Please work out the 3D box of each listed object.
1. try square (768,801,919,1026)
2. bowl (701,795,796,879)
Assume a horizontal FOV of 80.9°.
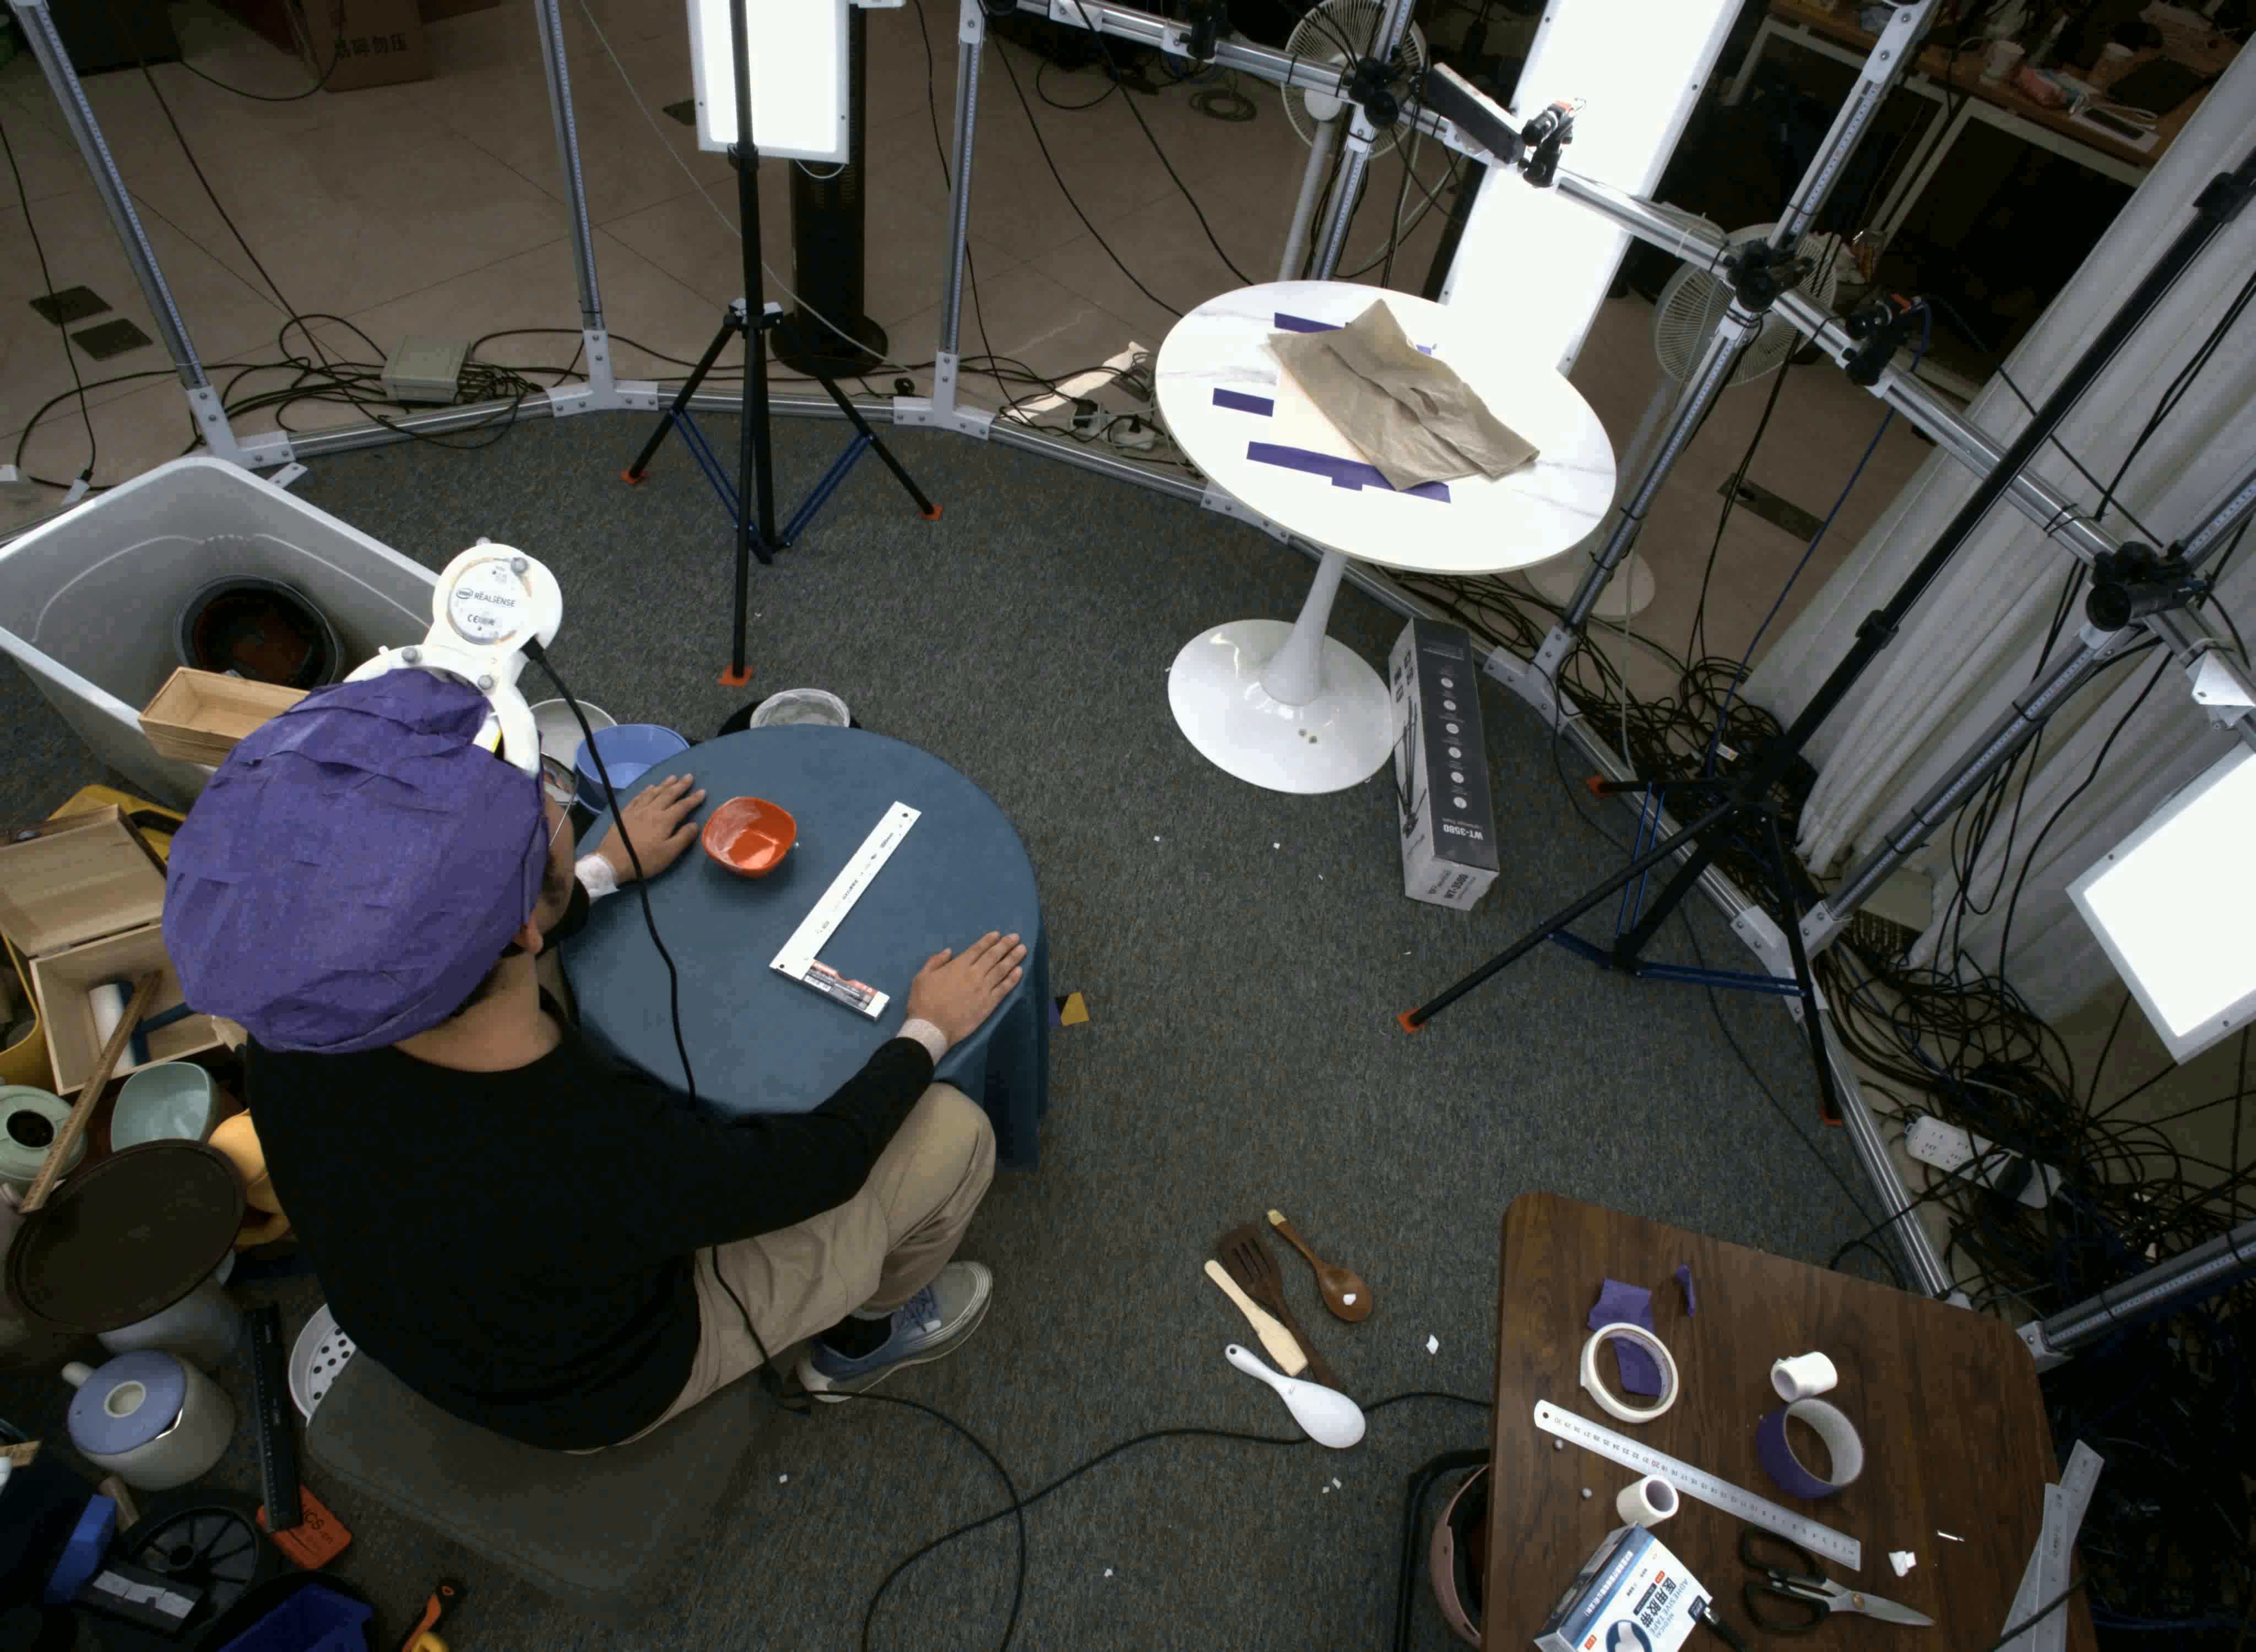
[{"bbox_3d":[-0.314,0.102,1.671,0.151,0.016,0.311,28,51,2],"label":"try square"},{"bbox_3d":[-0.484,0.021,1.653,0.119,0.052,0.117,9,52,-10],"label":"bowl"}]
